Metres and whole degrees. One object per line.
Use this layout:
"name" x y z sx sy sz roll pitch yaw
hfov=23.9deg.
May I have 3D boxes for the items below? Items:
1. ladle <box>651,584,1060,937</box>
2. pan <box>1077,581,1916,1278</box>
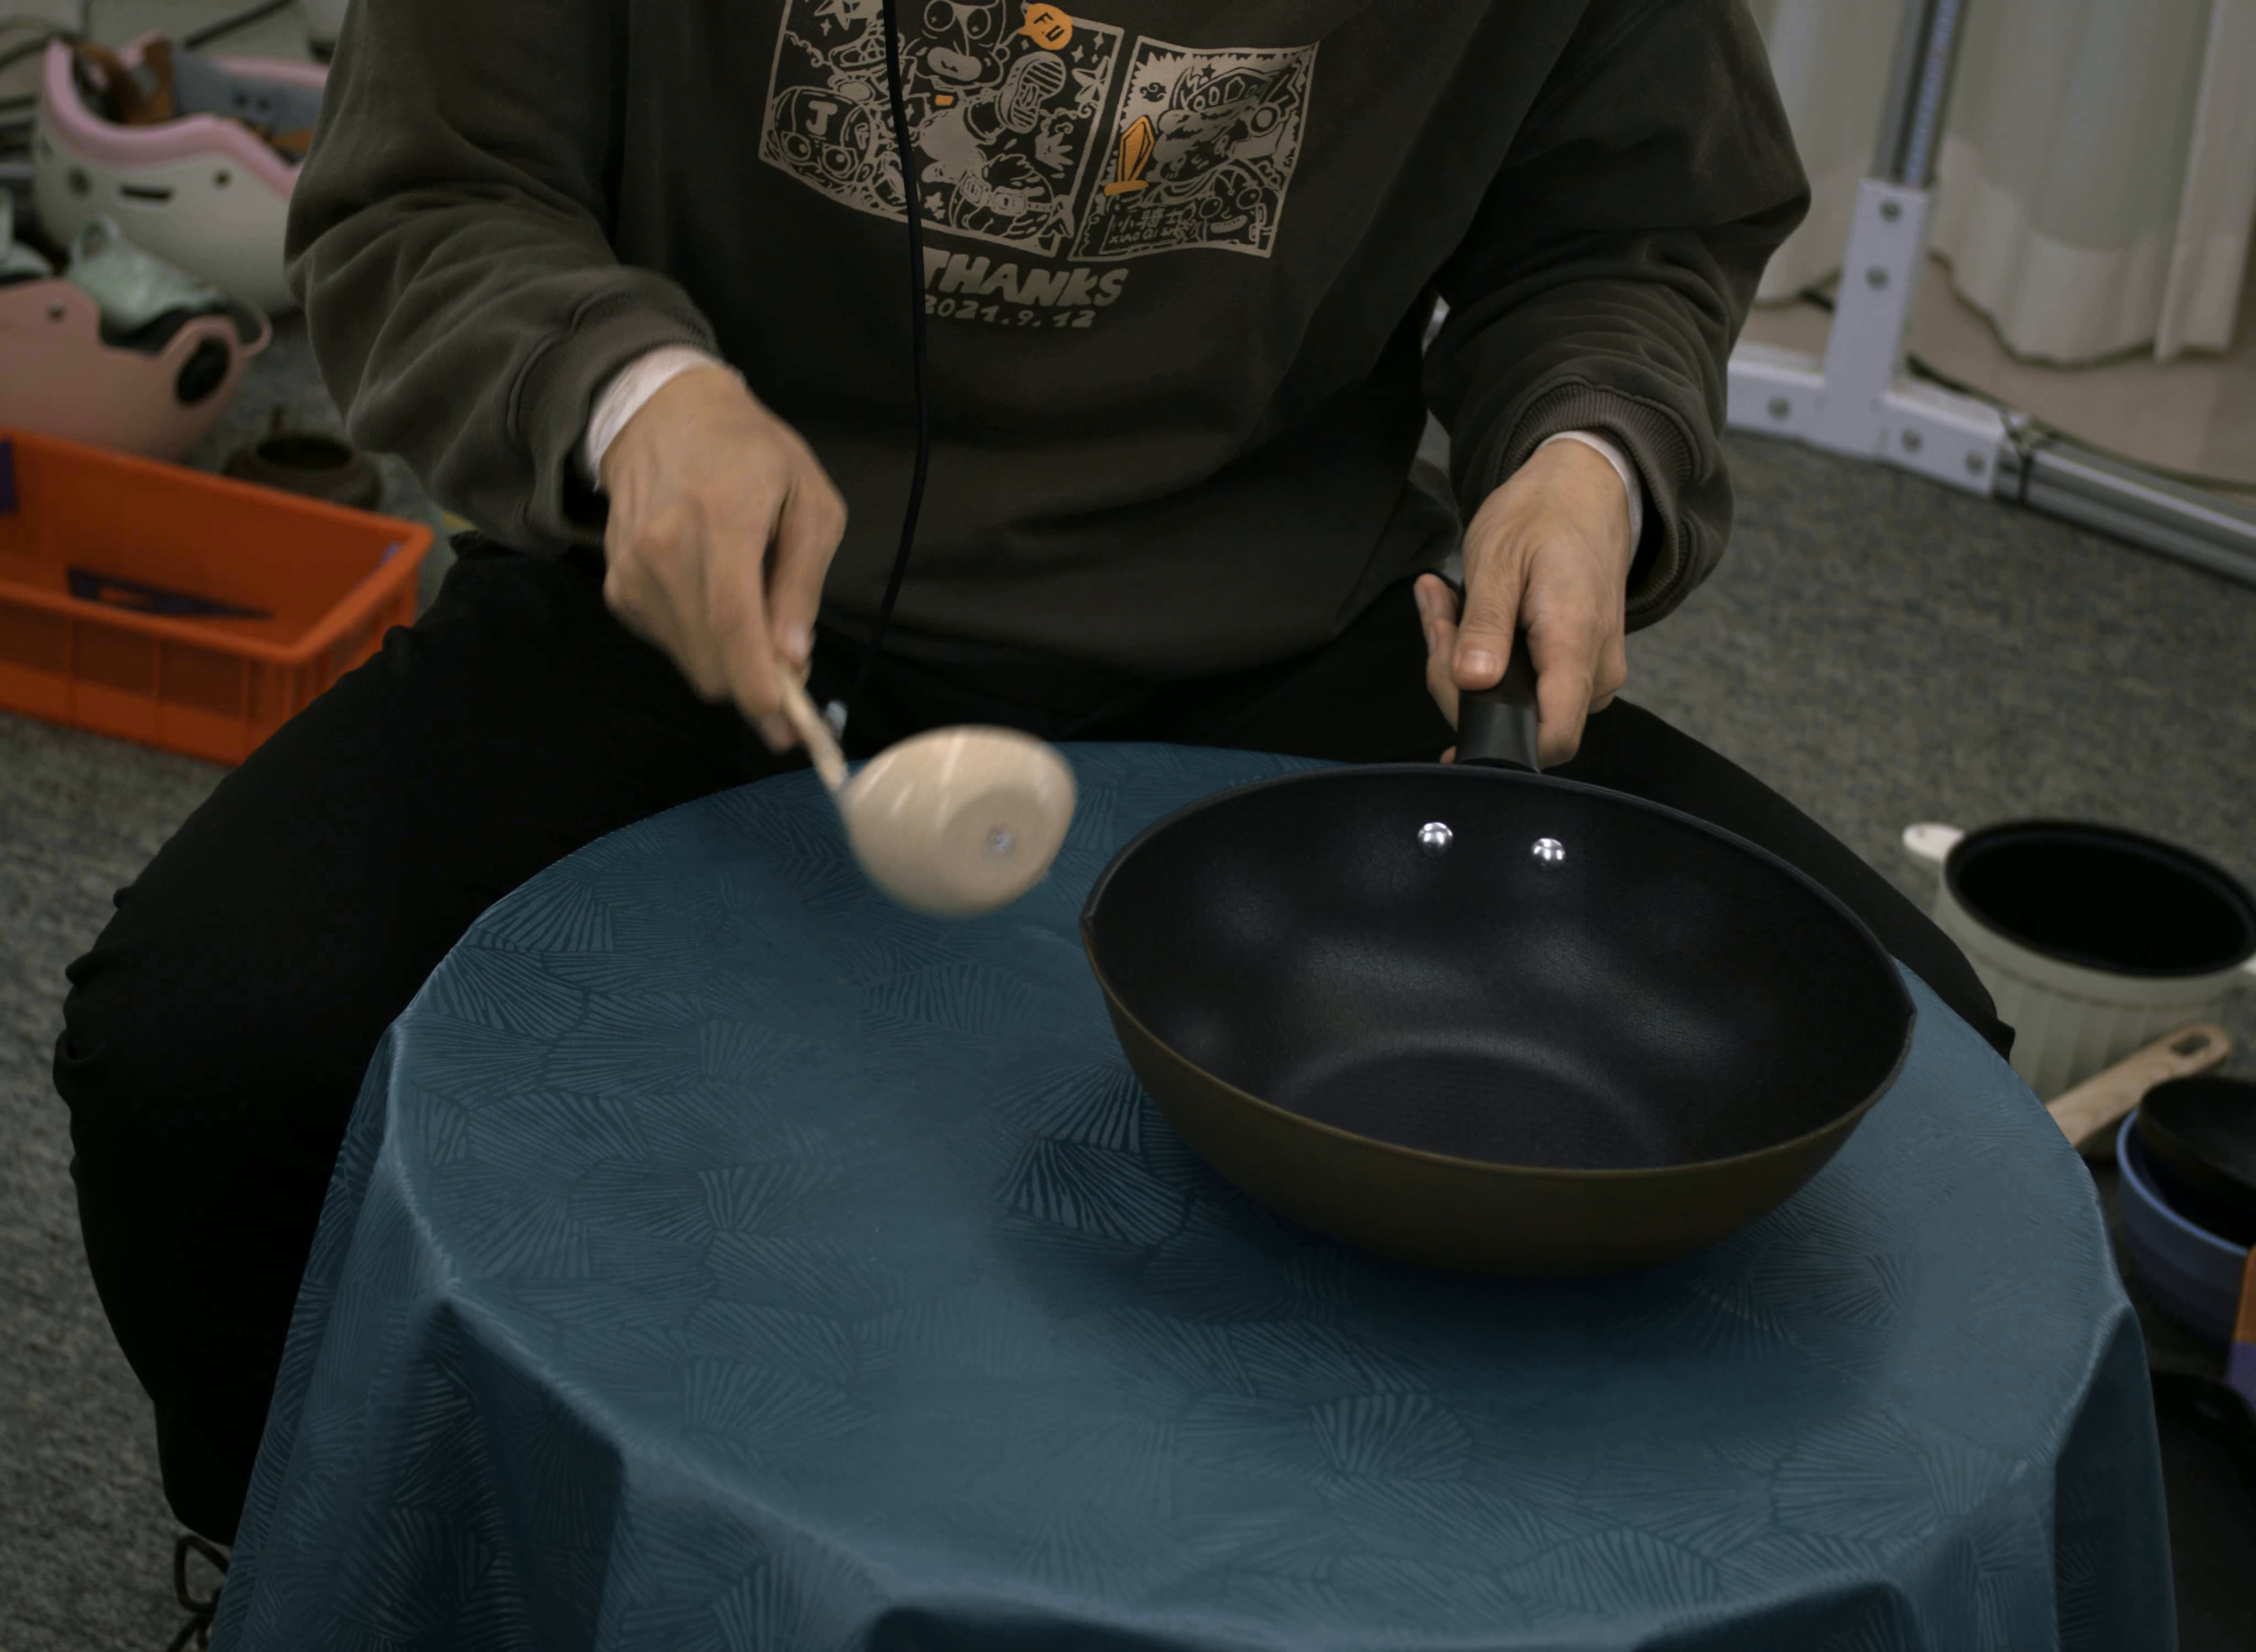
"ladle" -0.096 -0.048 1.800 0.071 0.073 0.257 32 13 -37
"pan" 0.128 0.038 1.907 0.287 0.086 0.466 7 26 1
